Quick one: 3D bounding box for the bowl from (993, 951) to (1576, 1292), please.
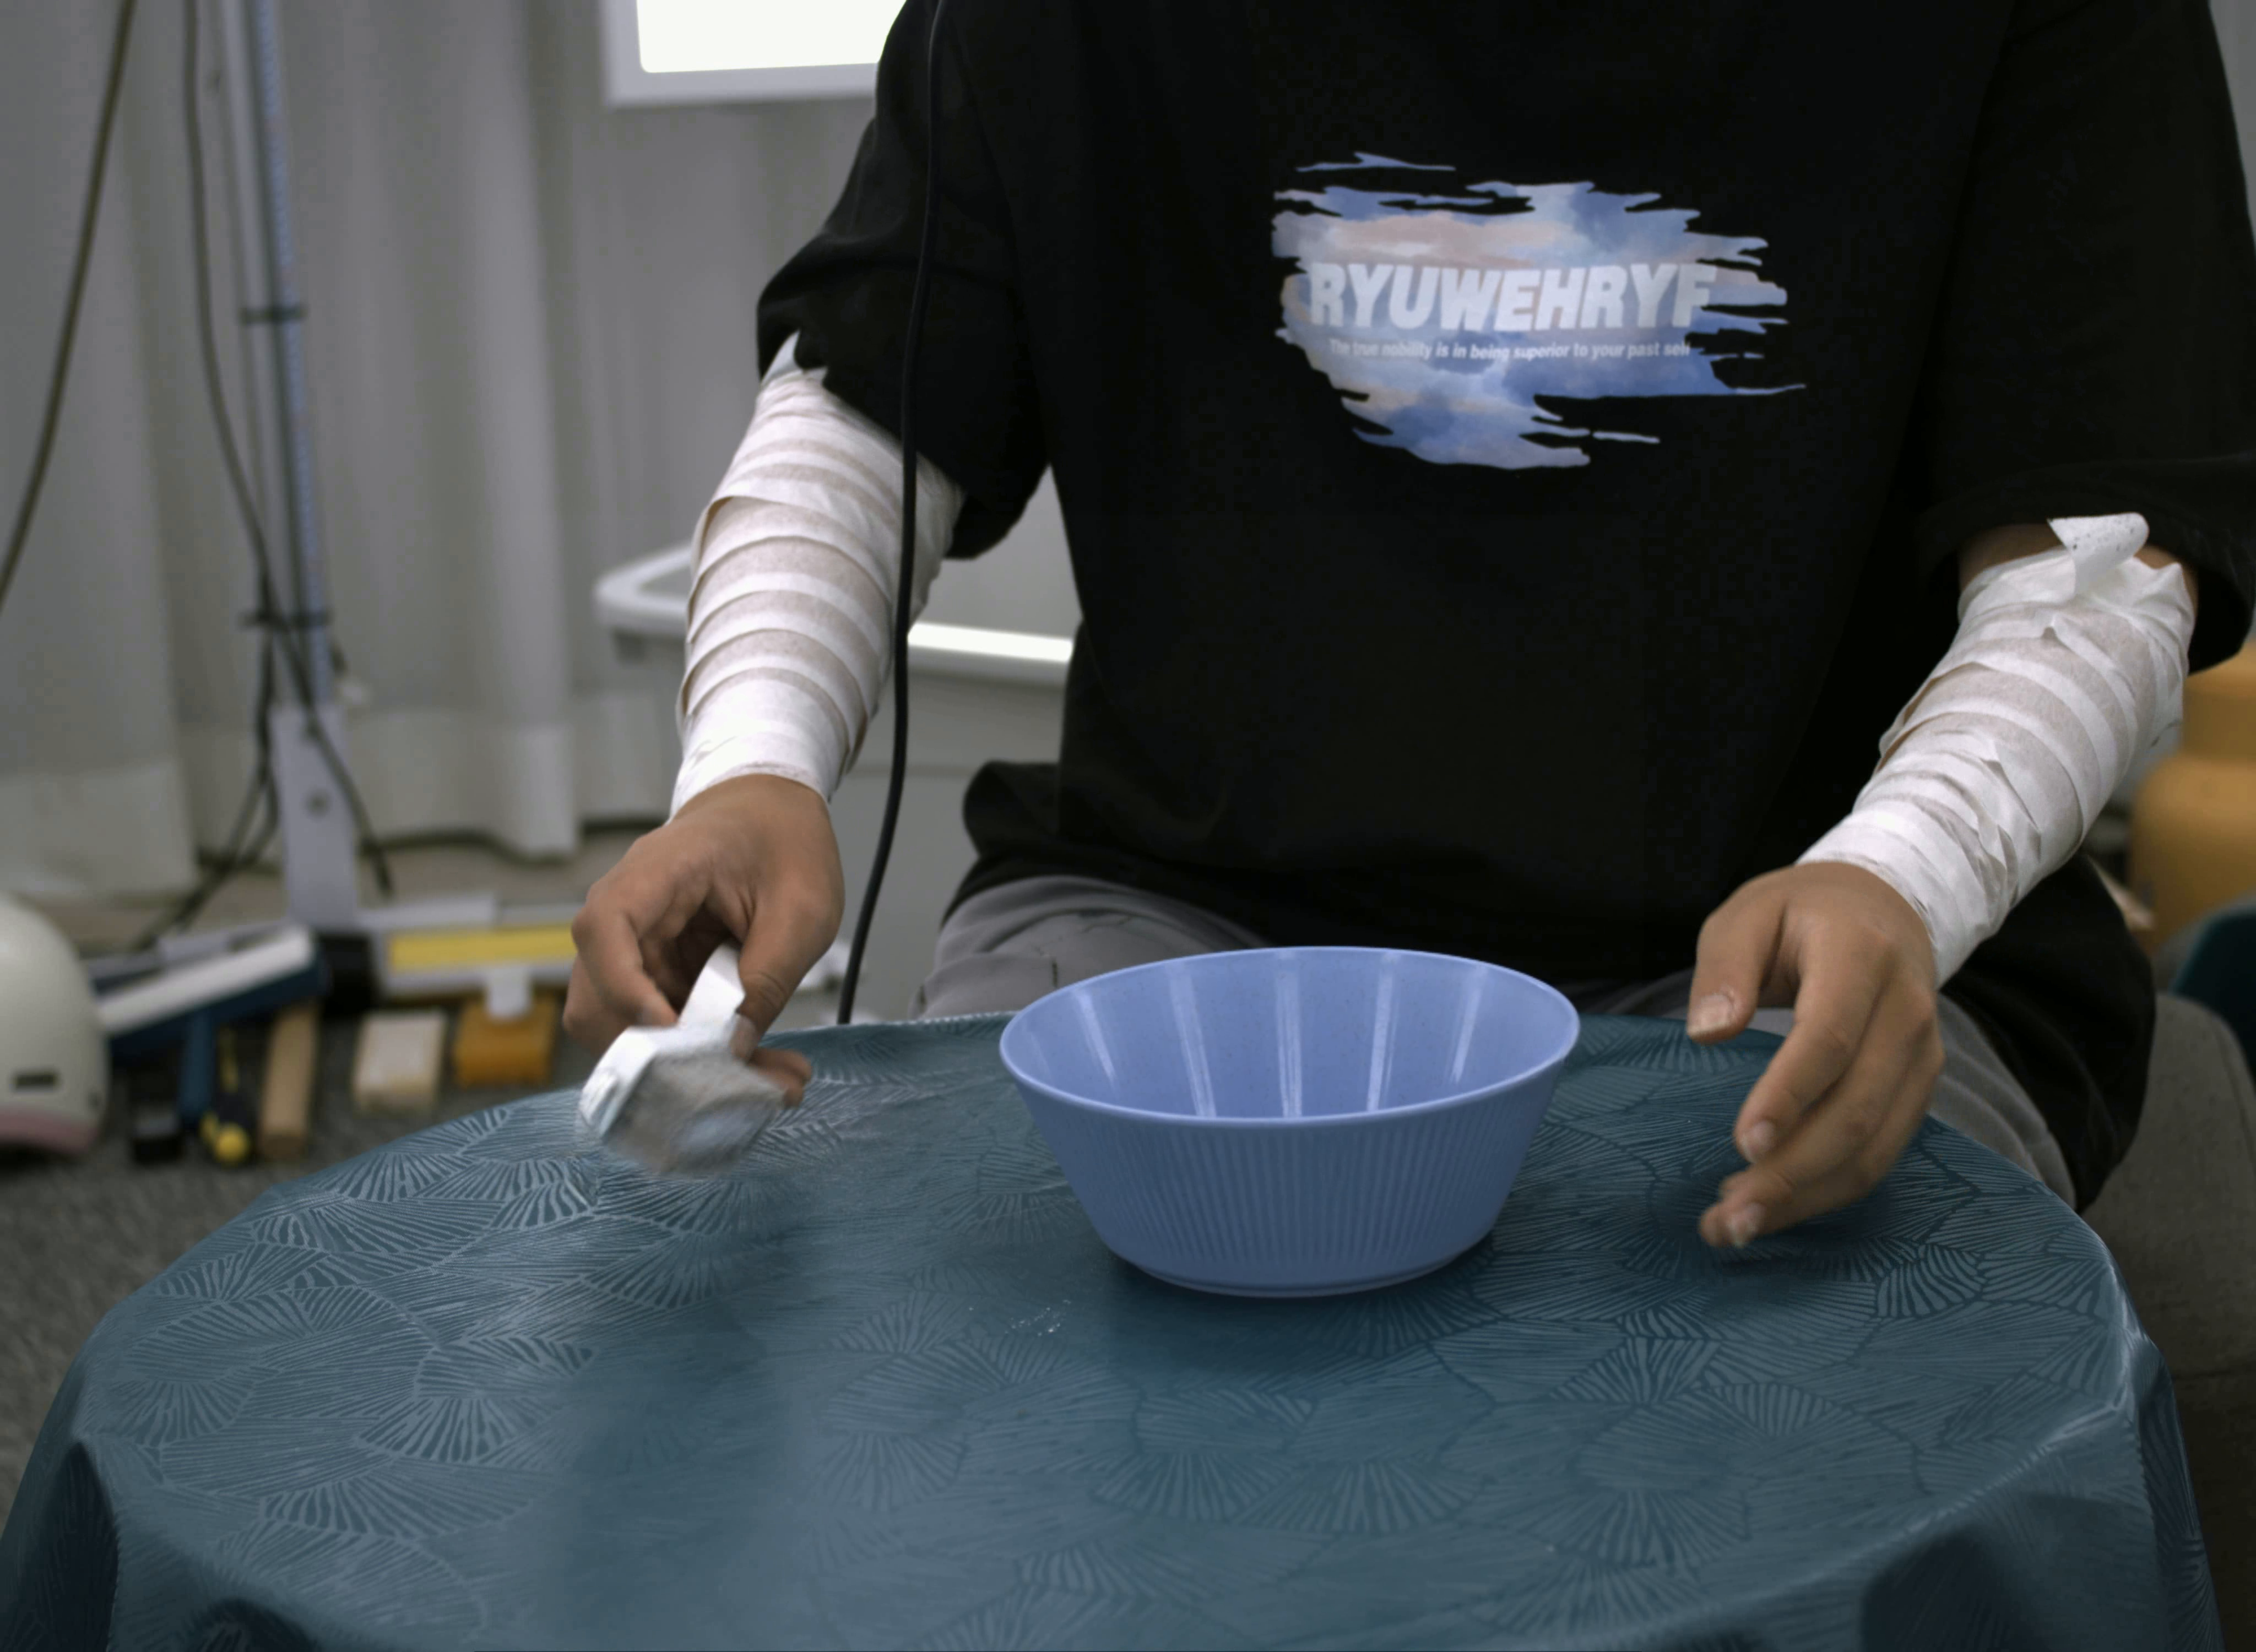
[{"bbox_3d":[0.048,0.091,1.653,0.175,0.070,0.177,-2,14,0],"label":"bowl"}]

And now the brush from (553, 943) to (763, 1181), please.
[{"bbox_3d":[-0.127,0.072,1.707,0.050,0.034,0.244,22,10,5],"label":"brush"}]
